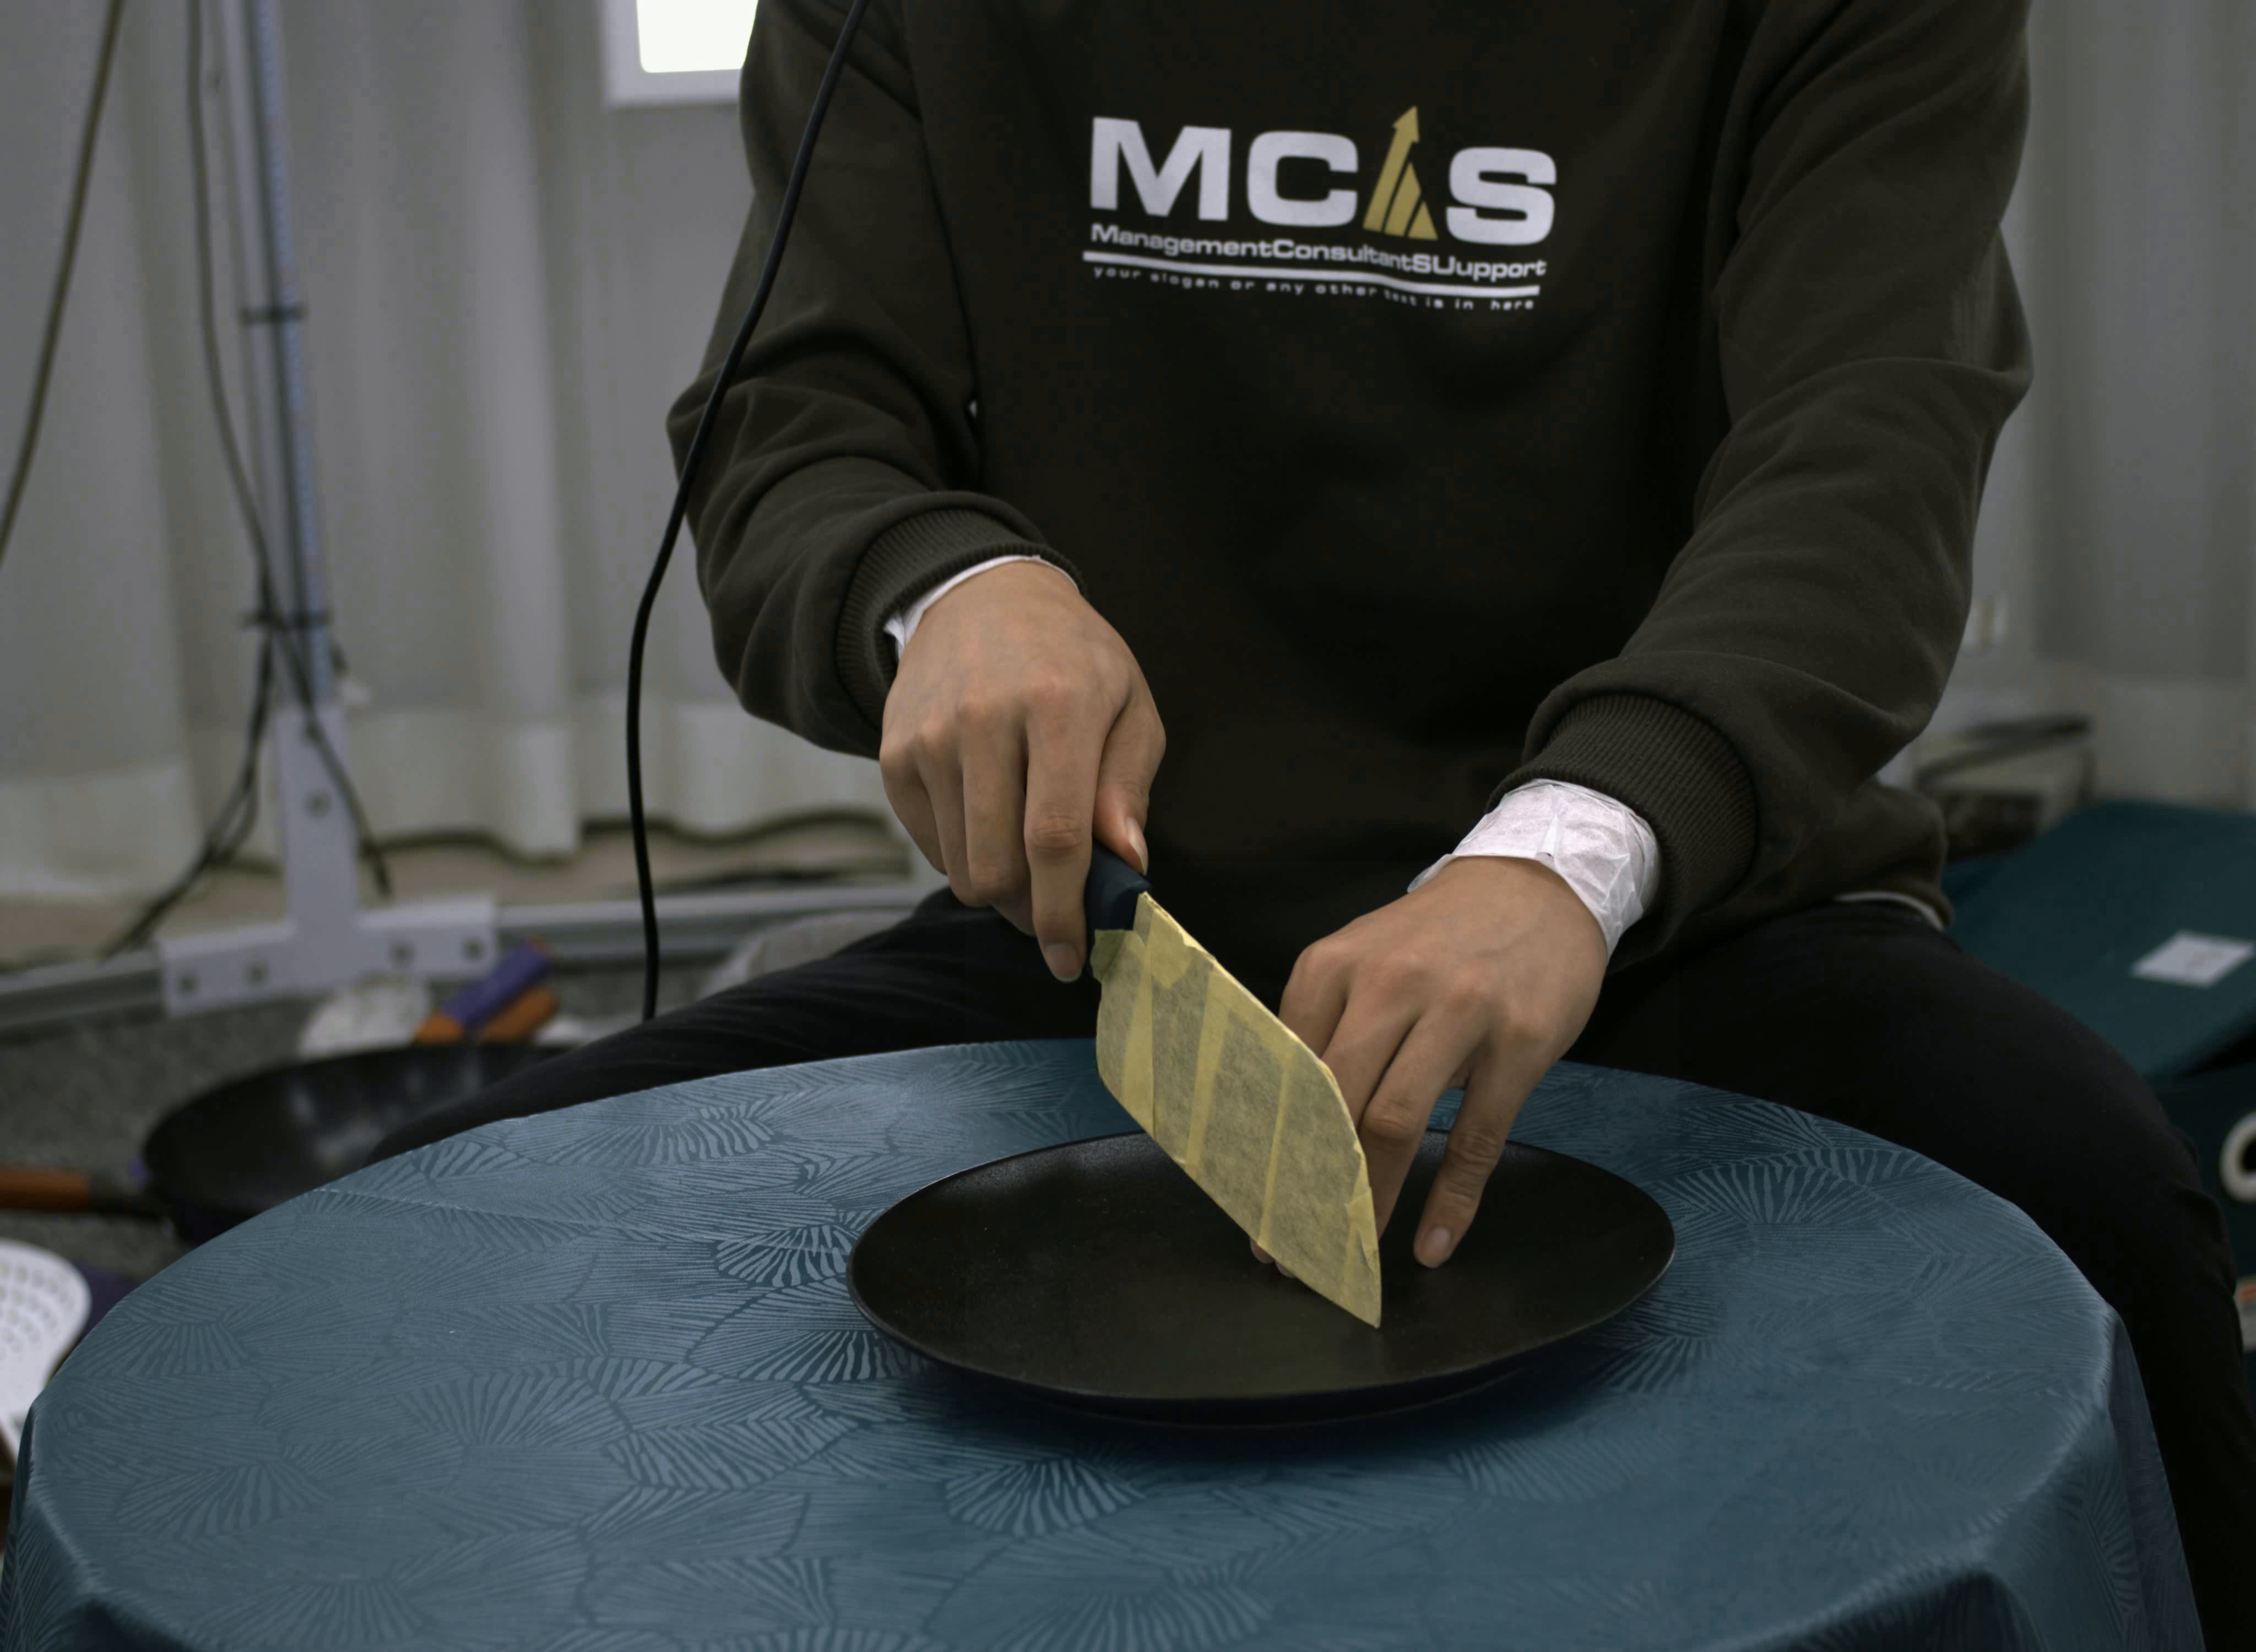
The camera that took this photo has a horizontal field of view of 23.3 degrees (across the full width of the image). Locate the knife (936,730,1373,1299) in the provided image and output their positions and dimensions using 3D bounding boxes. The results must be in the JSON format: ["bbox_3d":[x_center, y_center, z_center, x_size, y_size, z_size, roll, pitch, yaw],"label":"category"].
[{"bbox_3d":[0.006,0.053,1.664,0.027,0.080,0.293,-3,30,-28],"label":"knife"}]

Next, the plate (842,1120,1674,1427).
[{"bbox_3d":[0.038,0.133,1.596,0.243,0.023,0.246,-3,15,0],"label":"plate"}]
